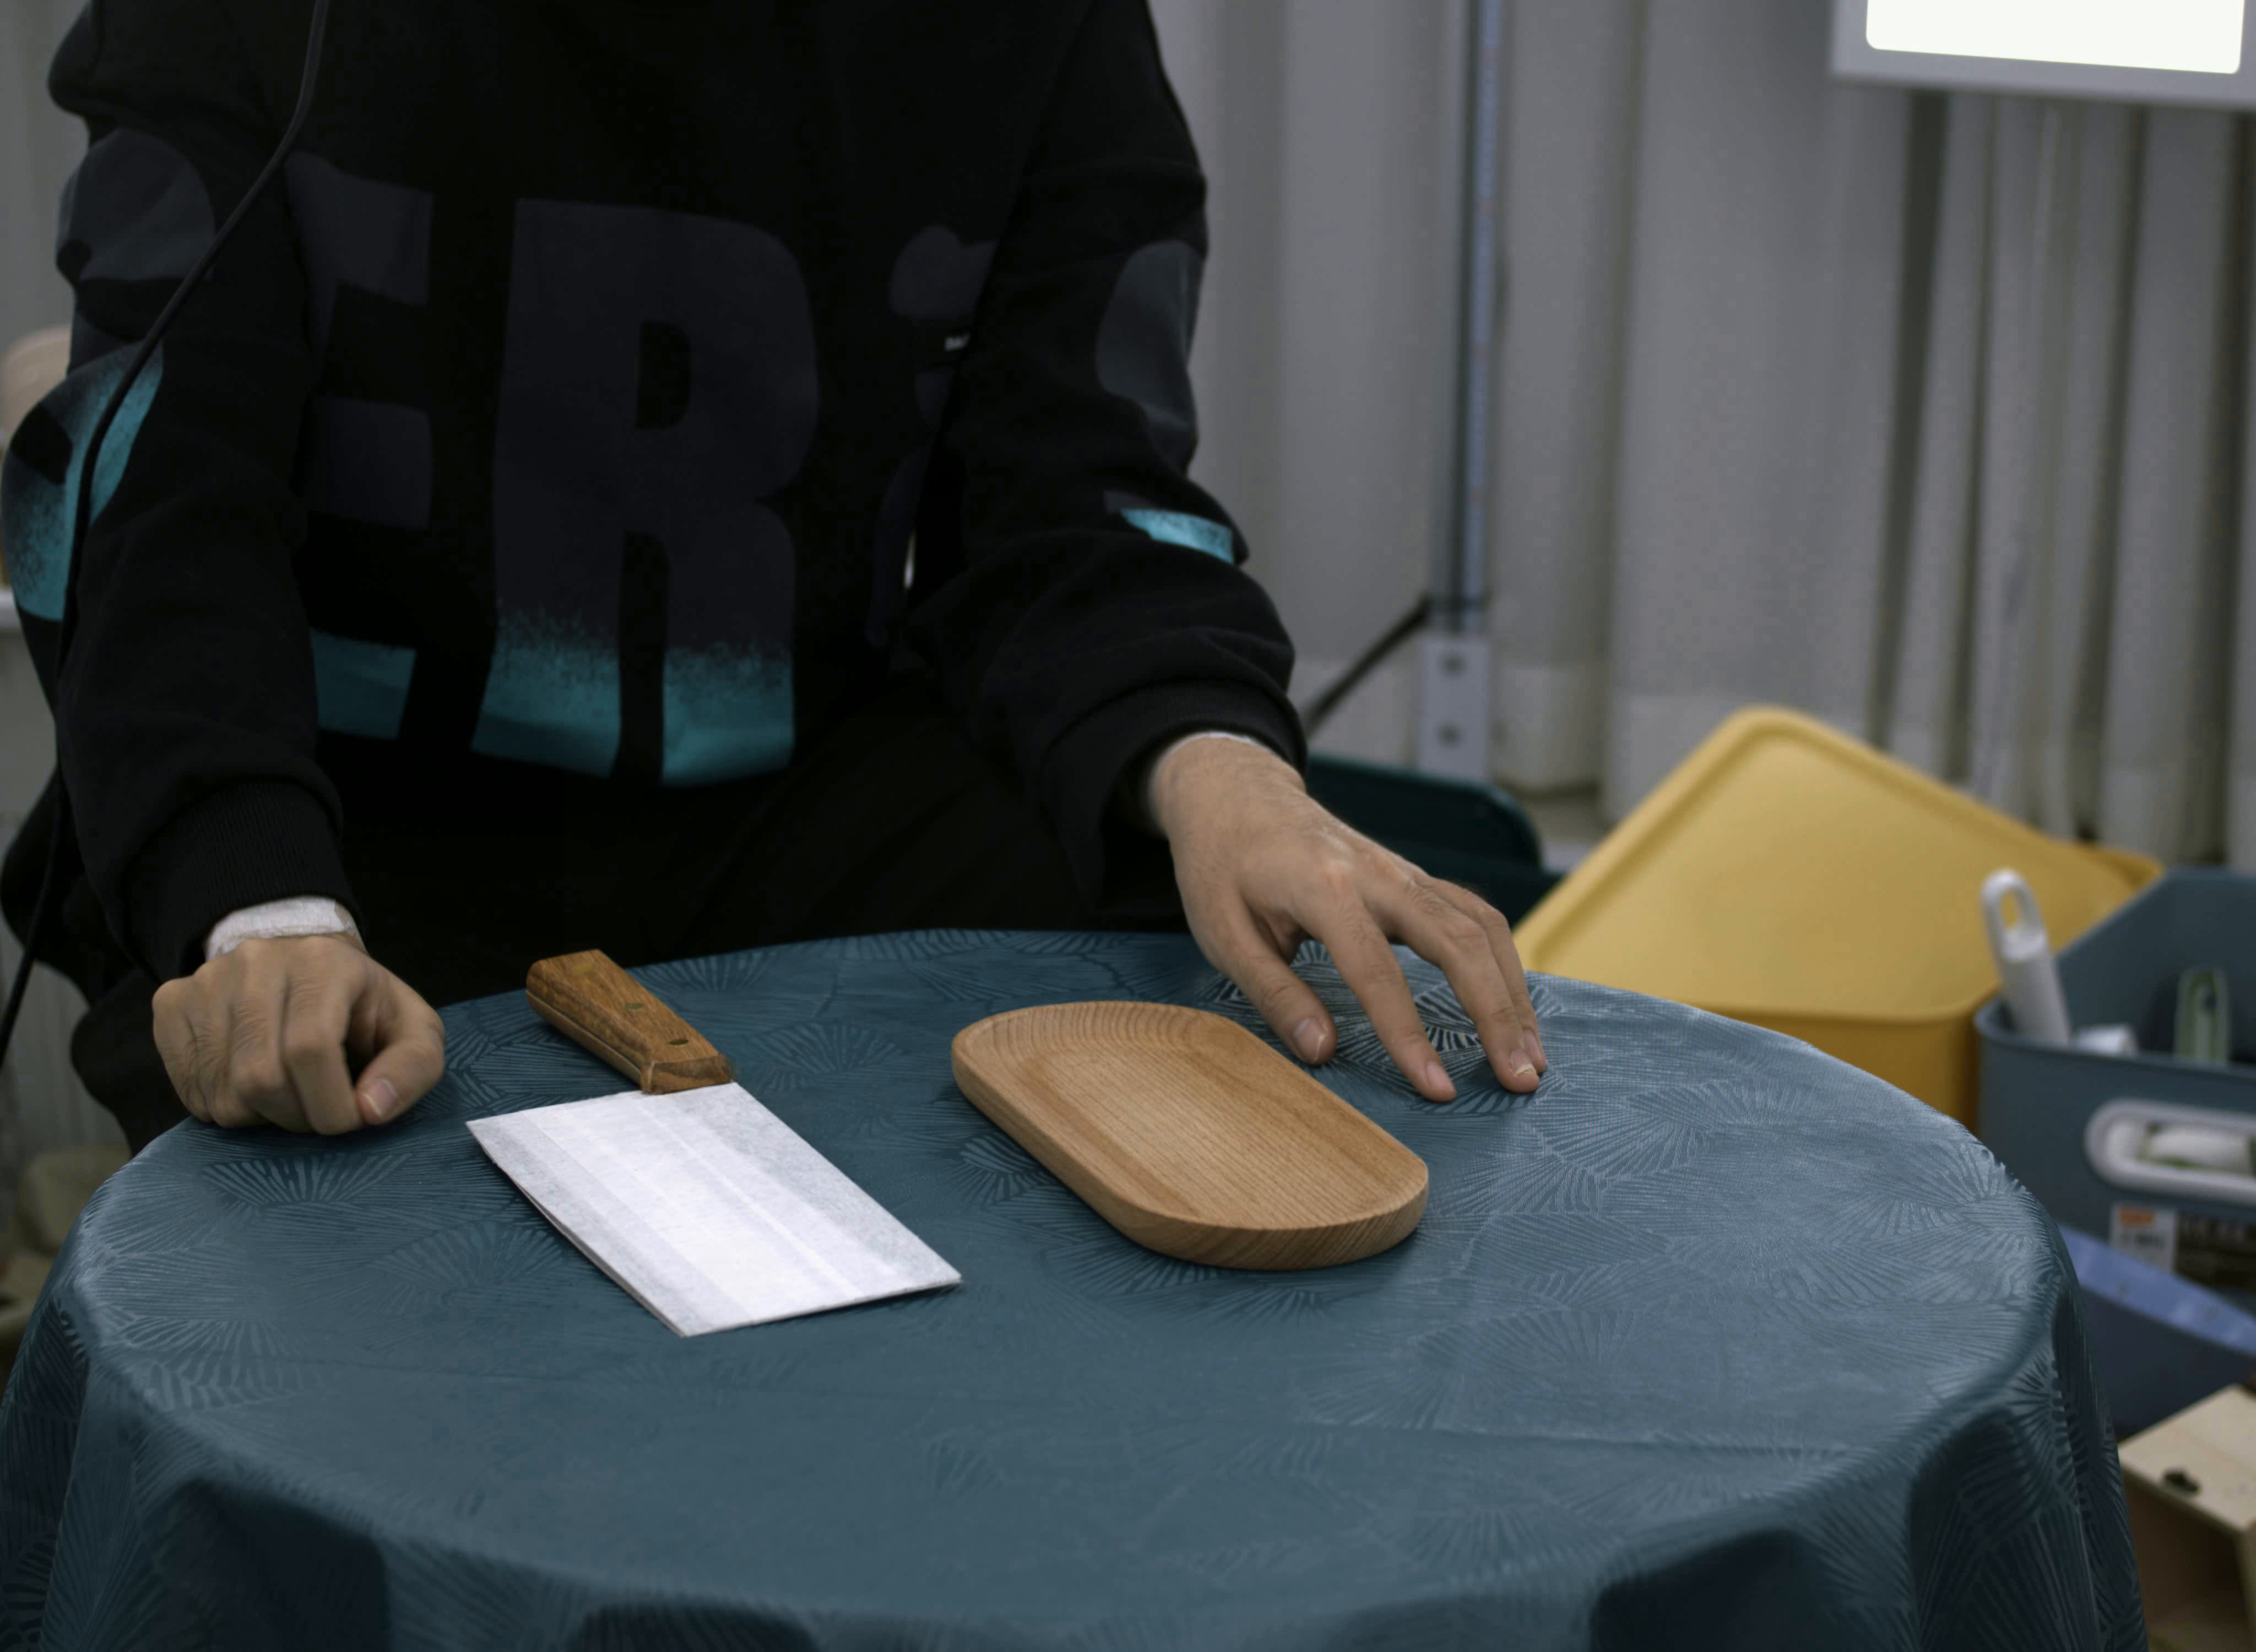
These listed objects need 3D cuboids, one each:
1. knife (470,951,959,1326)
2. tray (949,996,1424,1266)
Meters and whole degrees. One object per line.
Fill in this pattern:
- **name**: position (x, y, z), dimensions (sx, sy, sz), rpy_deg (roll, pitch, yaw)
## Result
- **knife**: position (-0.151, 0.097, 1.646), dimensions (0.093, 0.021, 0.302), rpy_deg (-10, 20, -24)
- **tray**: position (0.016, 0.094, 1.658), dimensions (0.102, 0.020, 0.228), rpy_deg (-5, 15, -21)
